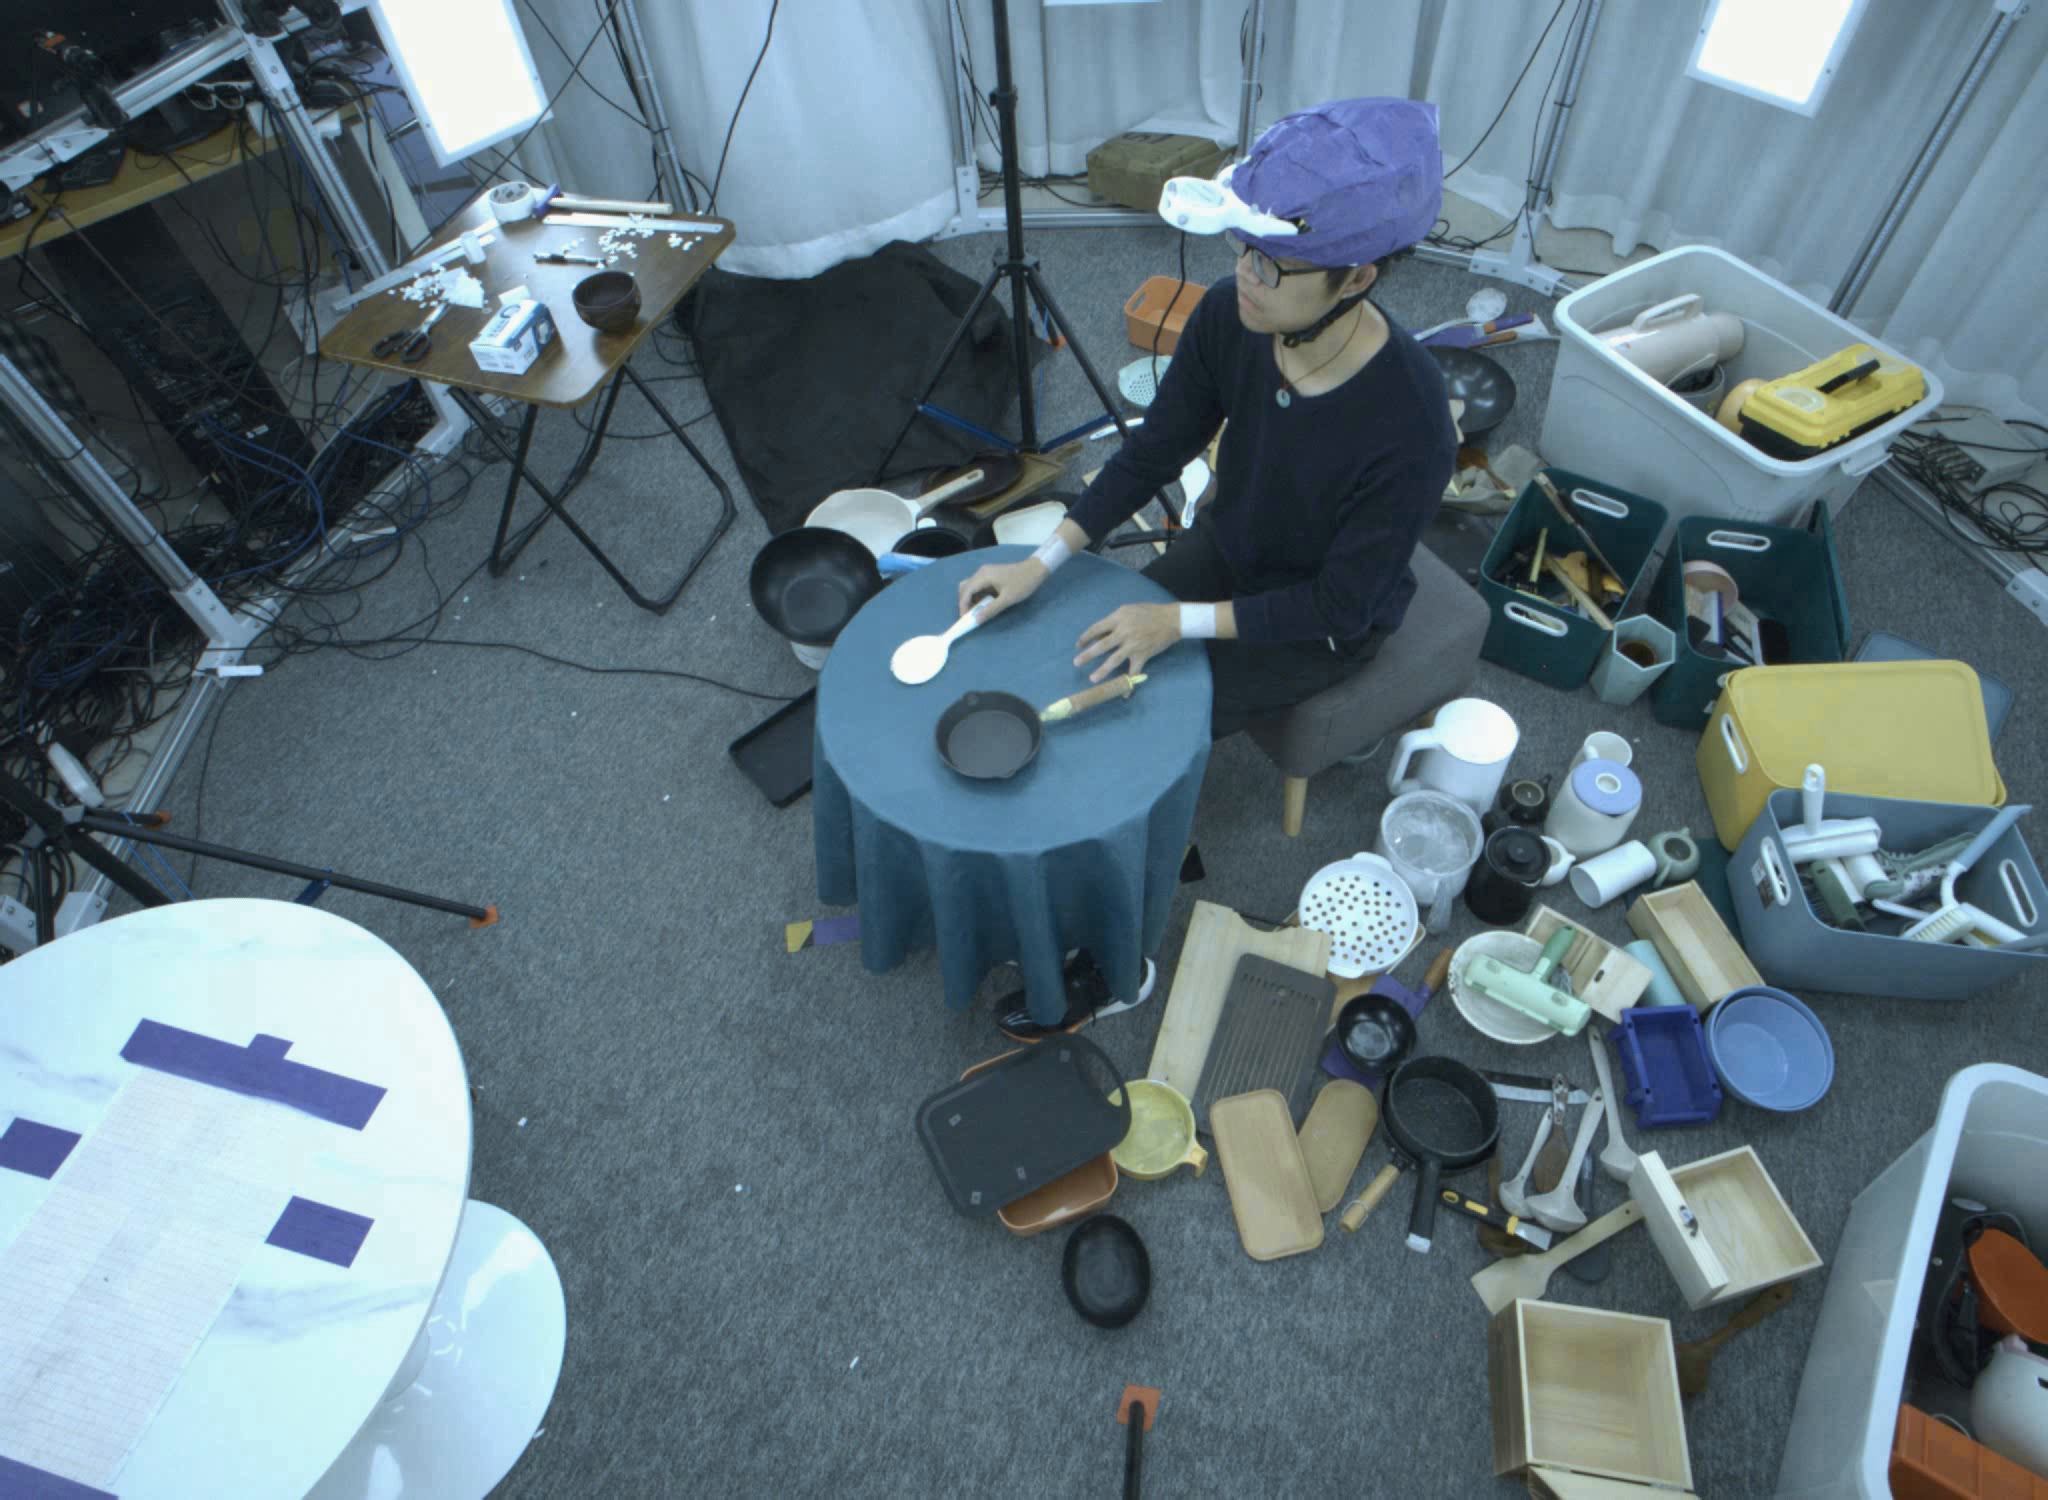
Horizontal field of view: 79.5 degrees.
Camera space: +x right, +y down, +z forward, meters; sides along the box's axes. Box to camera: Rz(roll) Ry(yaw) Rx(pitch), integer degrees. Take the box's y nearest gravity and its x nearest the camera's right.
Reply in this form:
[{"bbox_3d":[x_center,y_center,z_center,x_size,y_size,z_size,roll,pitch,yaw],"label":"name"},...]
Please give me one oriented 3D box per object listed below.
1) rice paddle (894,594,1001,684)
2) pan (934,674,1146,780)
[{"bbox_3d":[-0.118,-0.172,1.894,0.206,0.029,0.068,-41,83,-24],"label":"rice paddle"},{"bbox_3d":[0.028,-0.047,1.788,0.326,0.050,0.166,-18,56,-9],"label":"pan"}]
